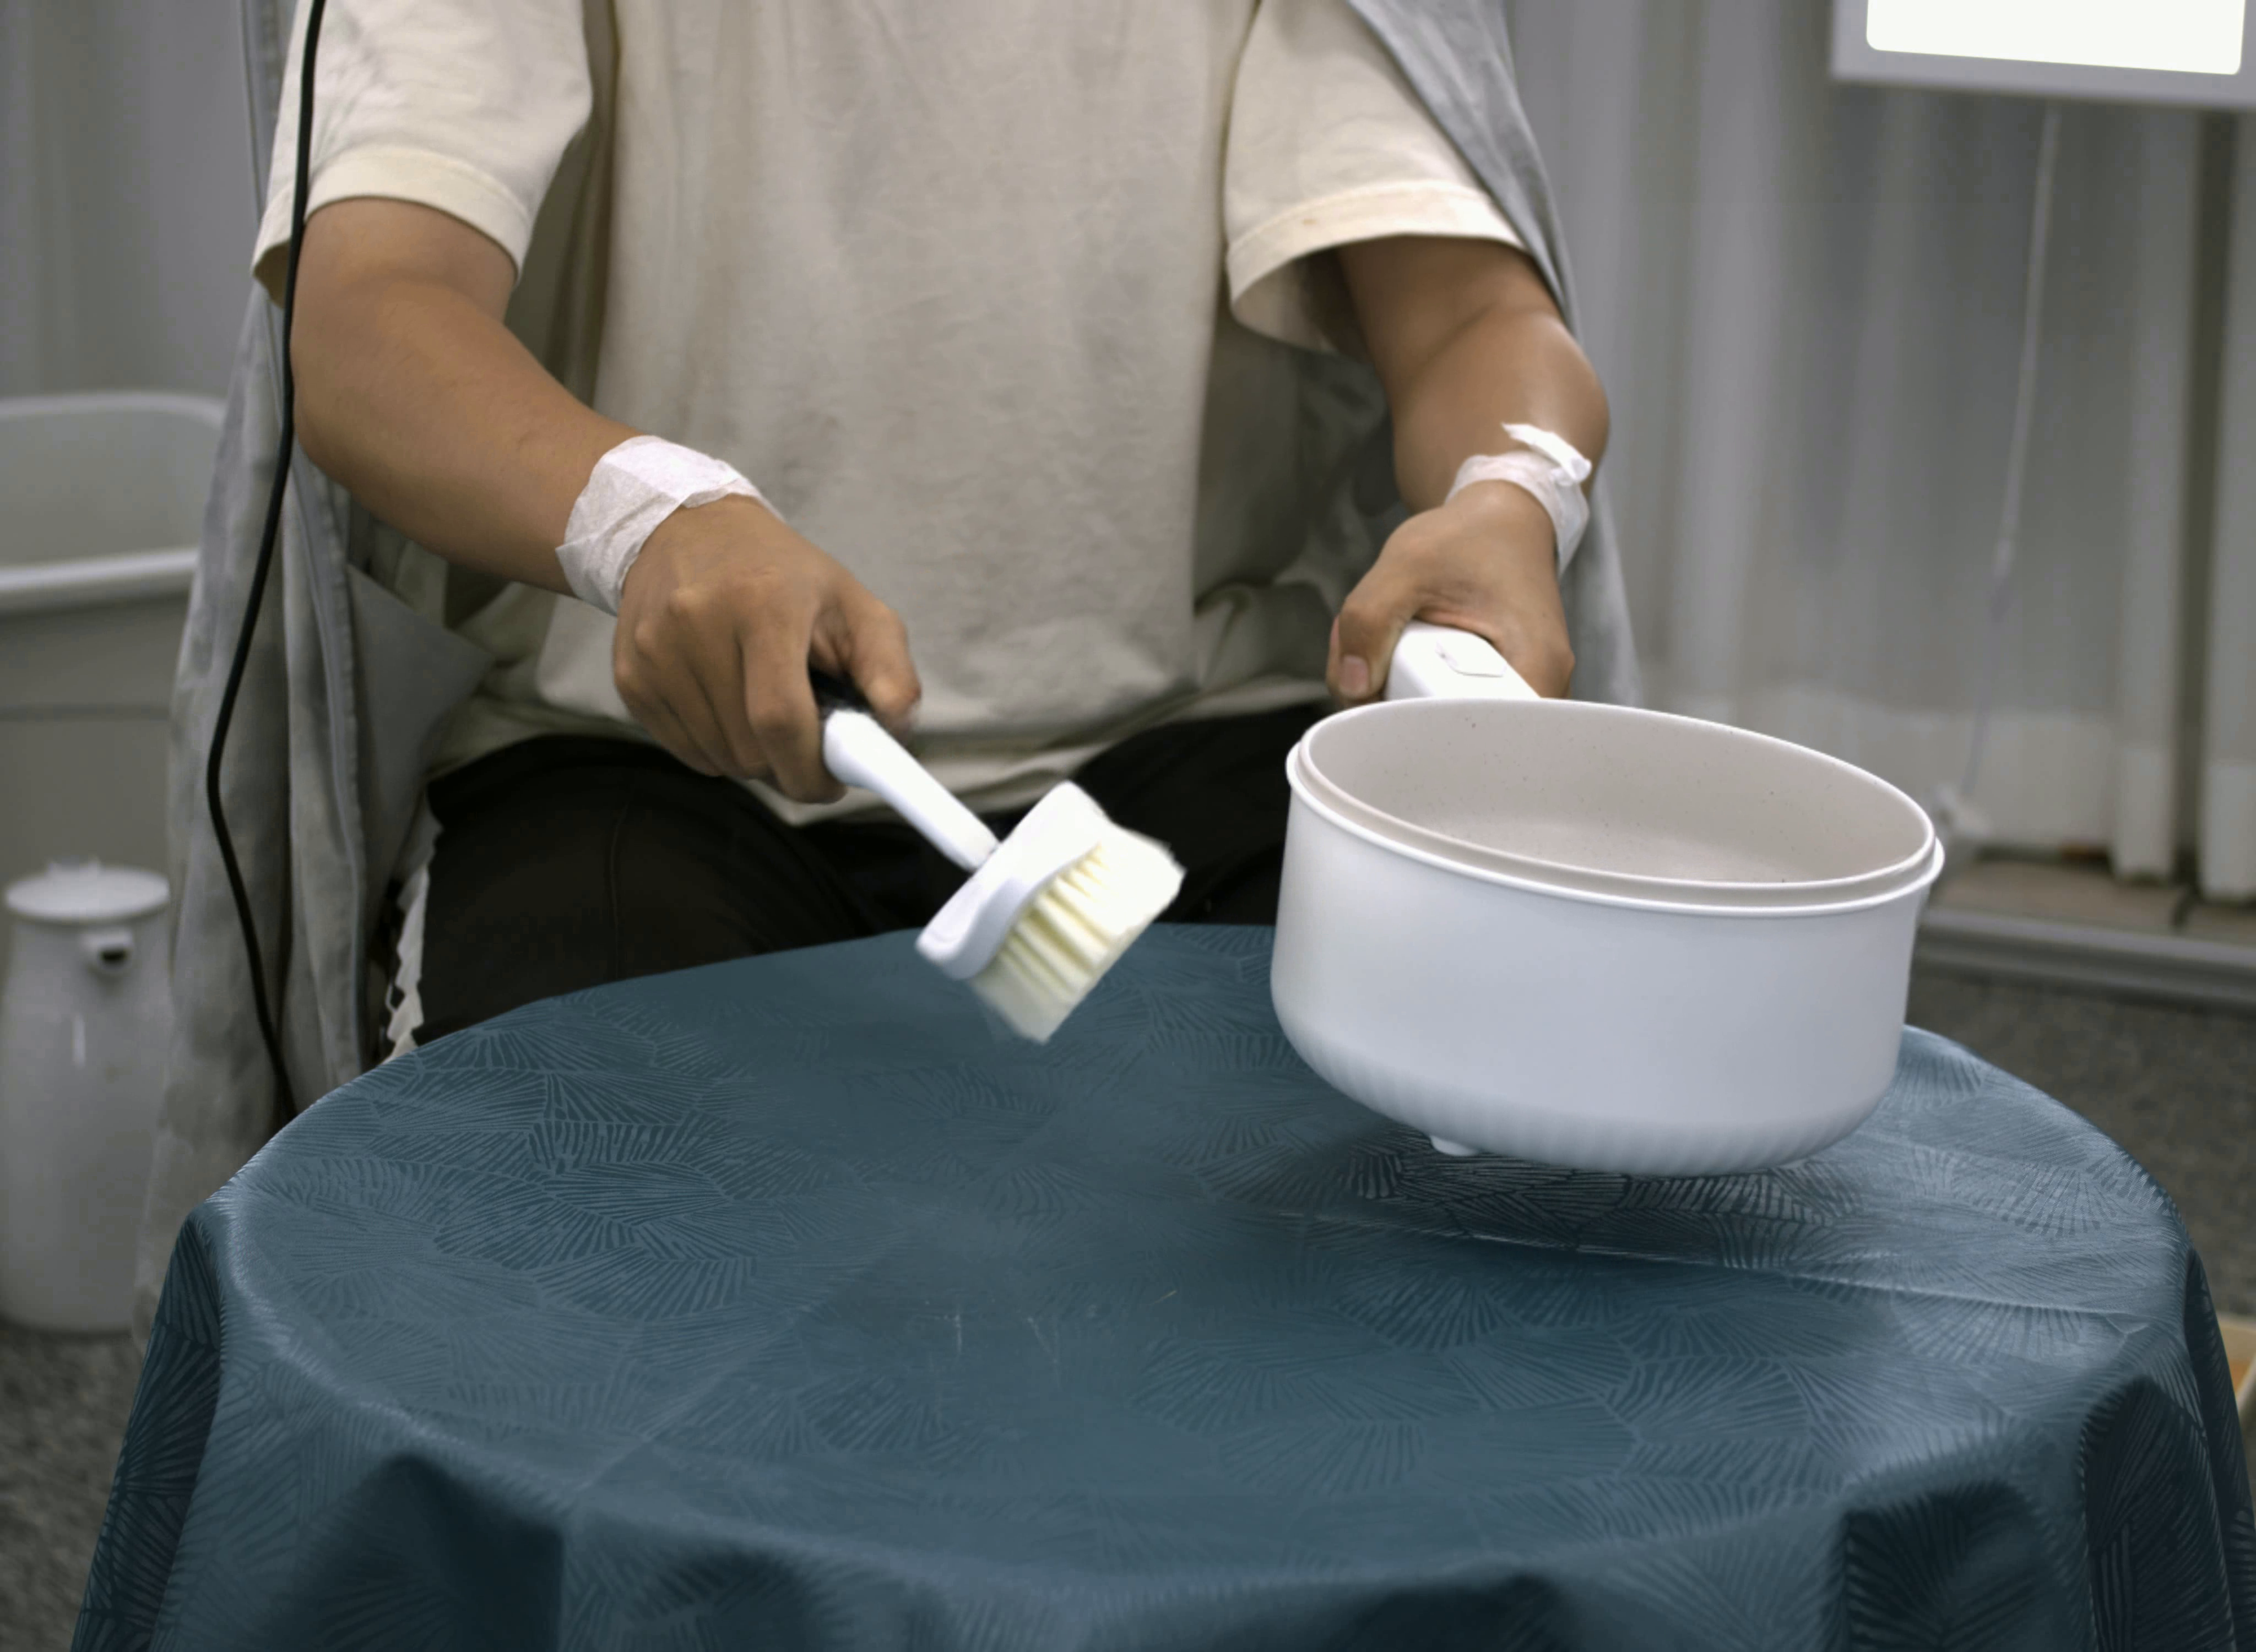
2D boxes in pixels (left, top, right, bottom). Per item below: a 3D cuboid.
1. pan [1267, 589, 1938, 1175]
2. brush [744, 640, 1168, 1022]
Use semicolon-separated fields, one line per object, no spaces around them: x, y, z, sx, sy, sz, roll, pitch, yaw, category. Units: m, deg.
0.125;0.014;1.685;0.201;0.103;0.351;3;16;-14;pan
-0.046;0.000;1.618;0.083;0.085;0.322;-13;14;-13;brush
